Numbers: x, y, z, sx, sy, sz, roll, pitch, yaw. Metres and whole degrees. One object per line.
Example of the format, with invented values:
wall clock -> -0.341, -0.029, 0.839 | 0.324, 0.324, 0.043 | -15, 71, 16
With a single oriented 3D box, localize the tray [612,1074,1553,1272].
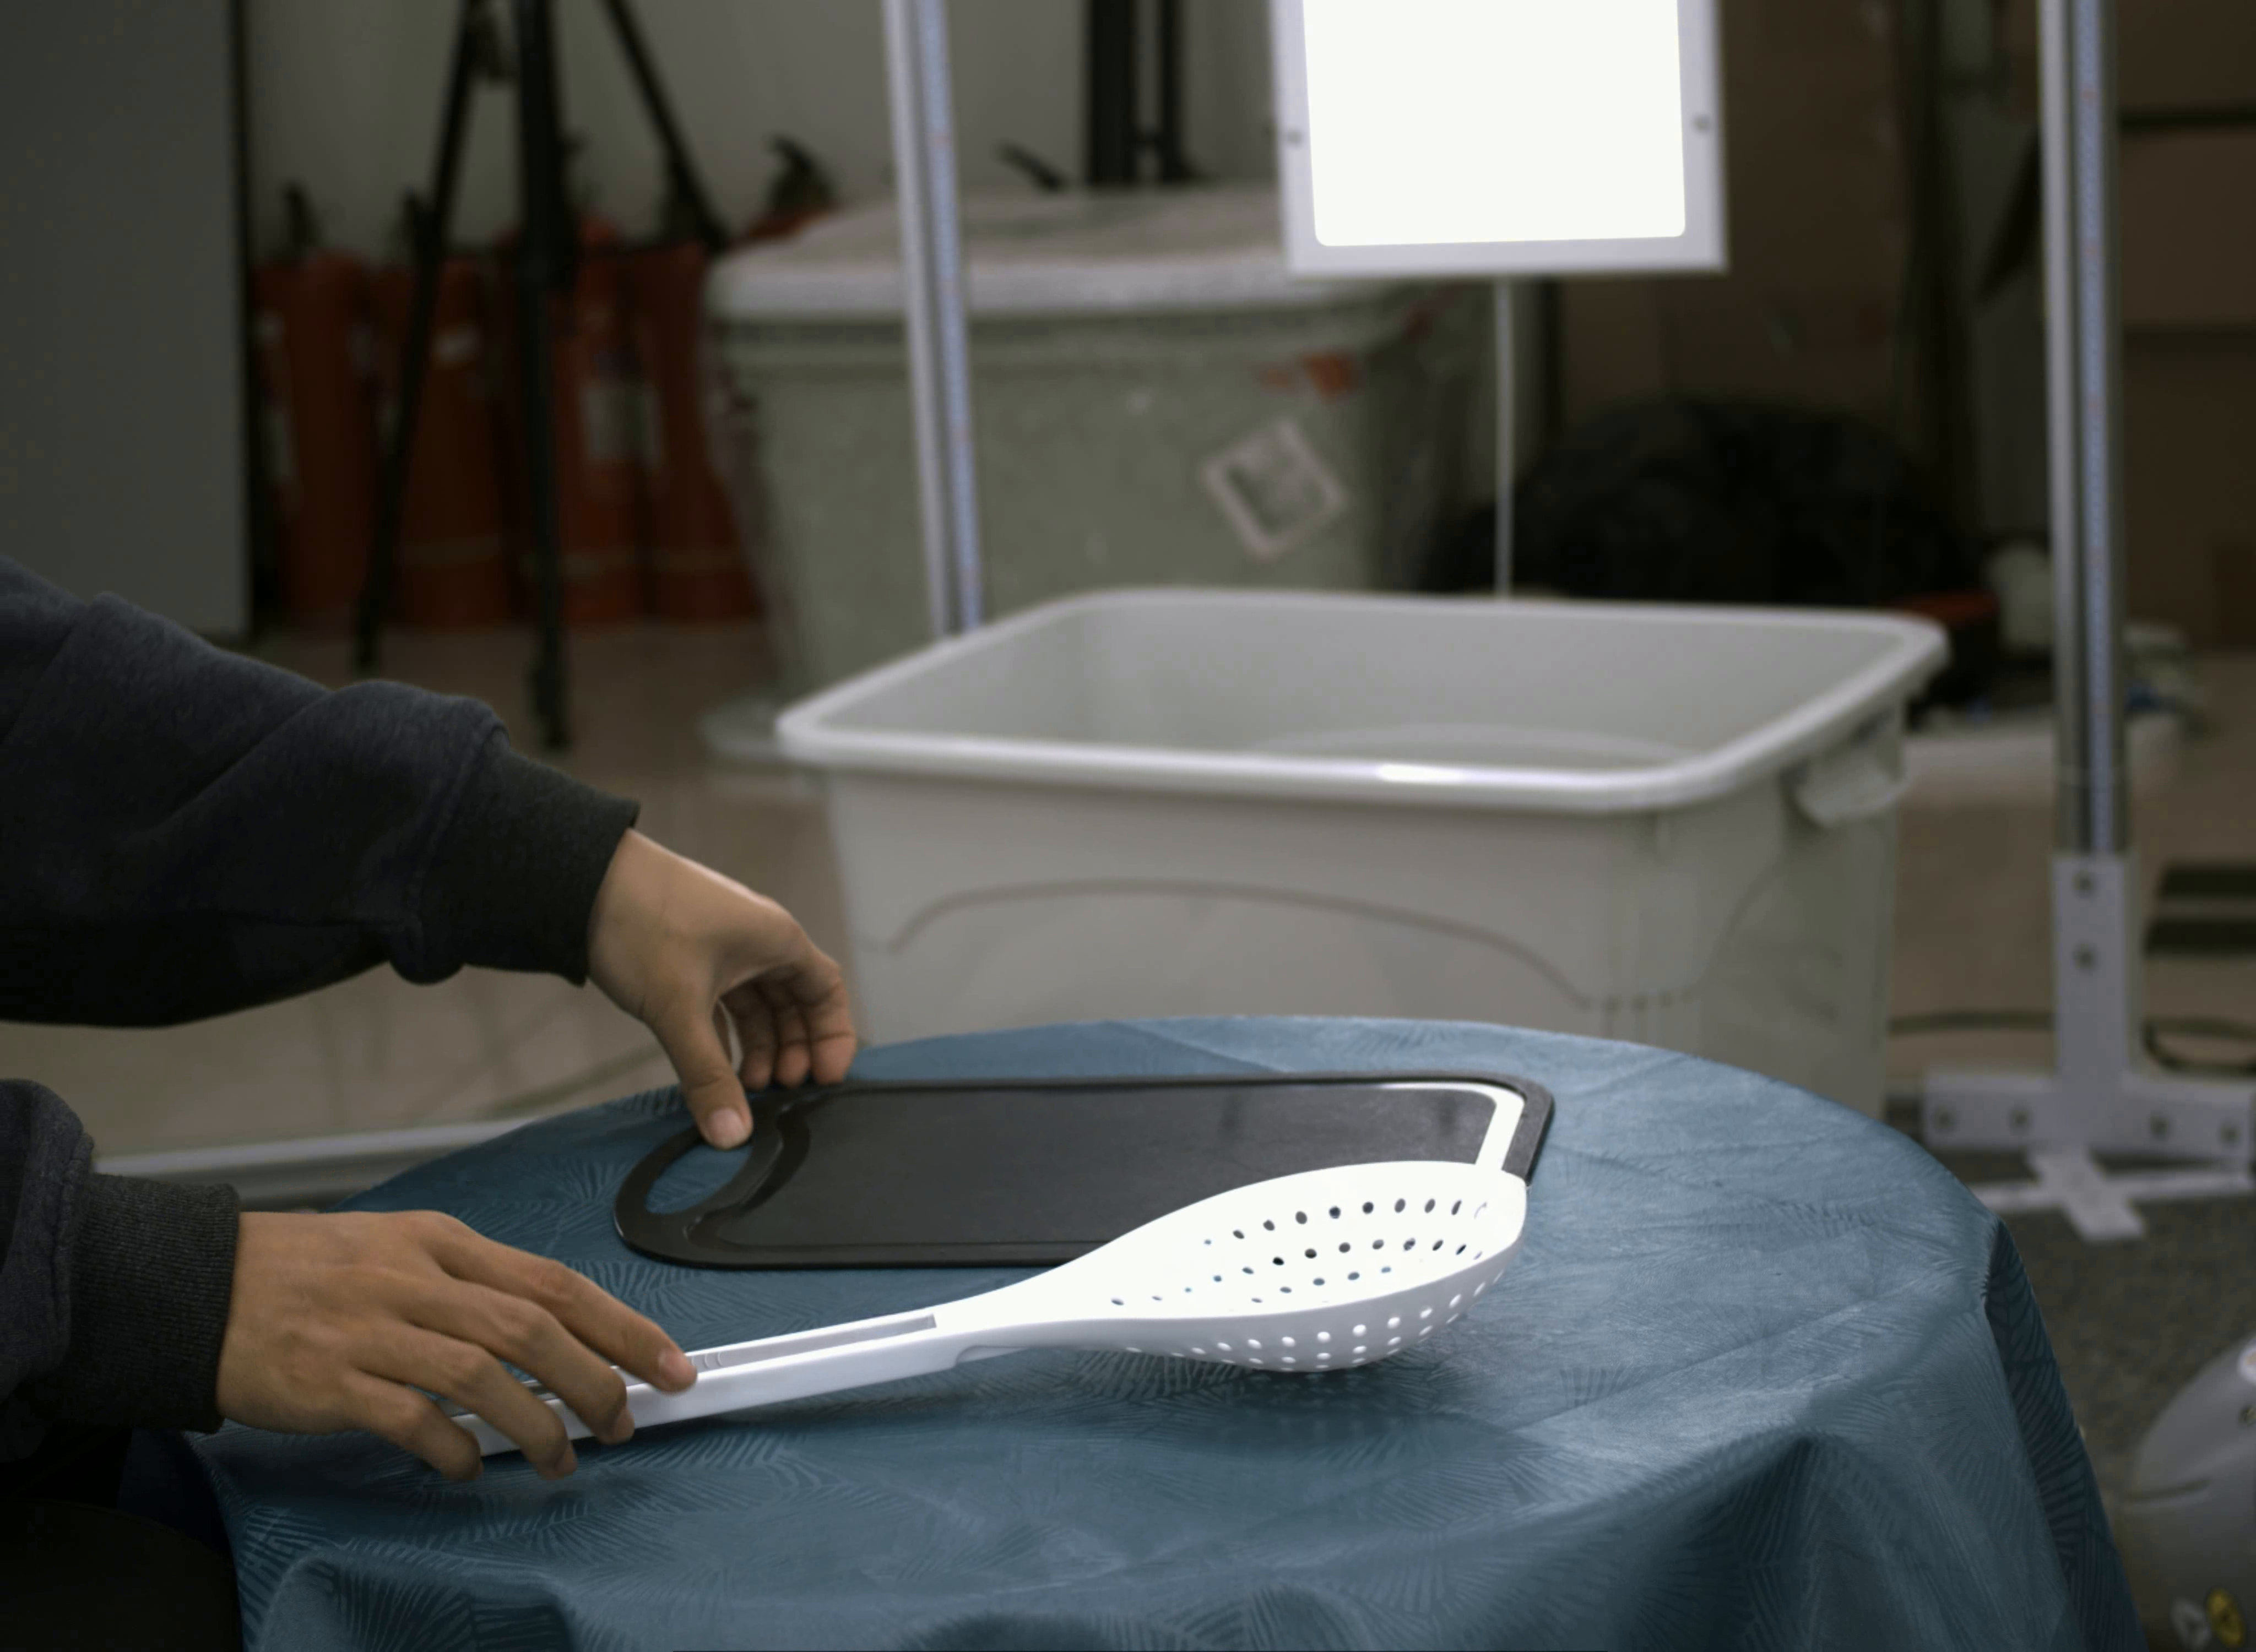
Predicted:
tray -> -0.019, 0.118, 1.924 | 0.328, 0.010, 0.208 | -2, 14, 13

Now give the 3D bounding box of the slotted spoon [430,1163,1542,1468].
slotted spoon -> -0.043, 0.154, 1.703 | 0.348, 0.046, 0.136 | -7, 12, -3
